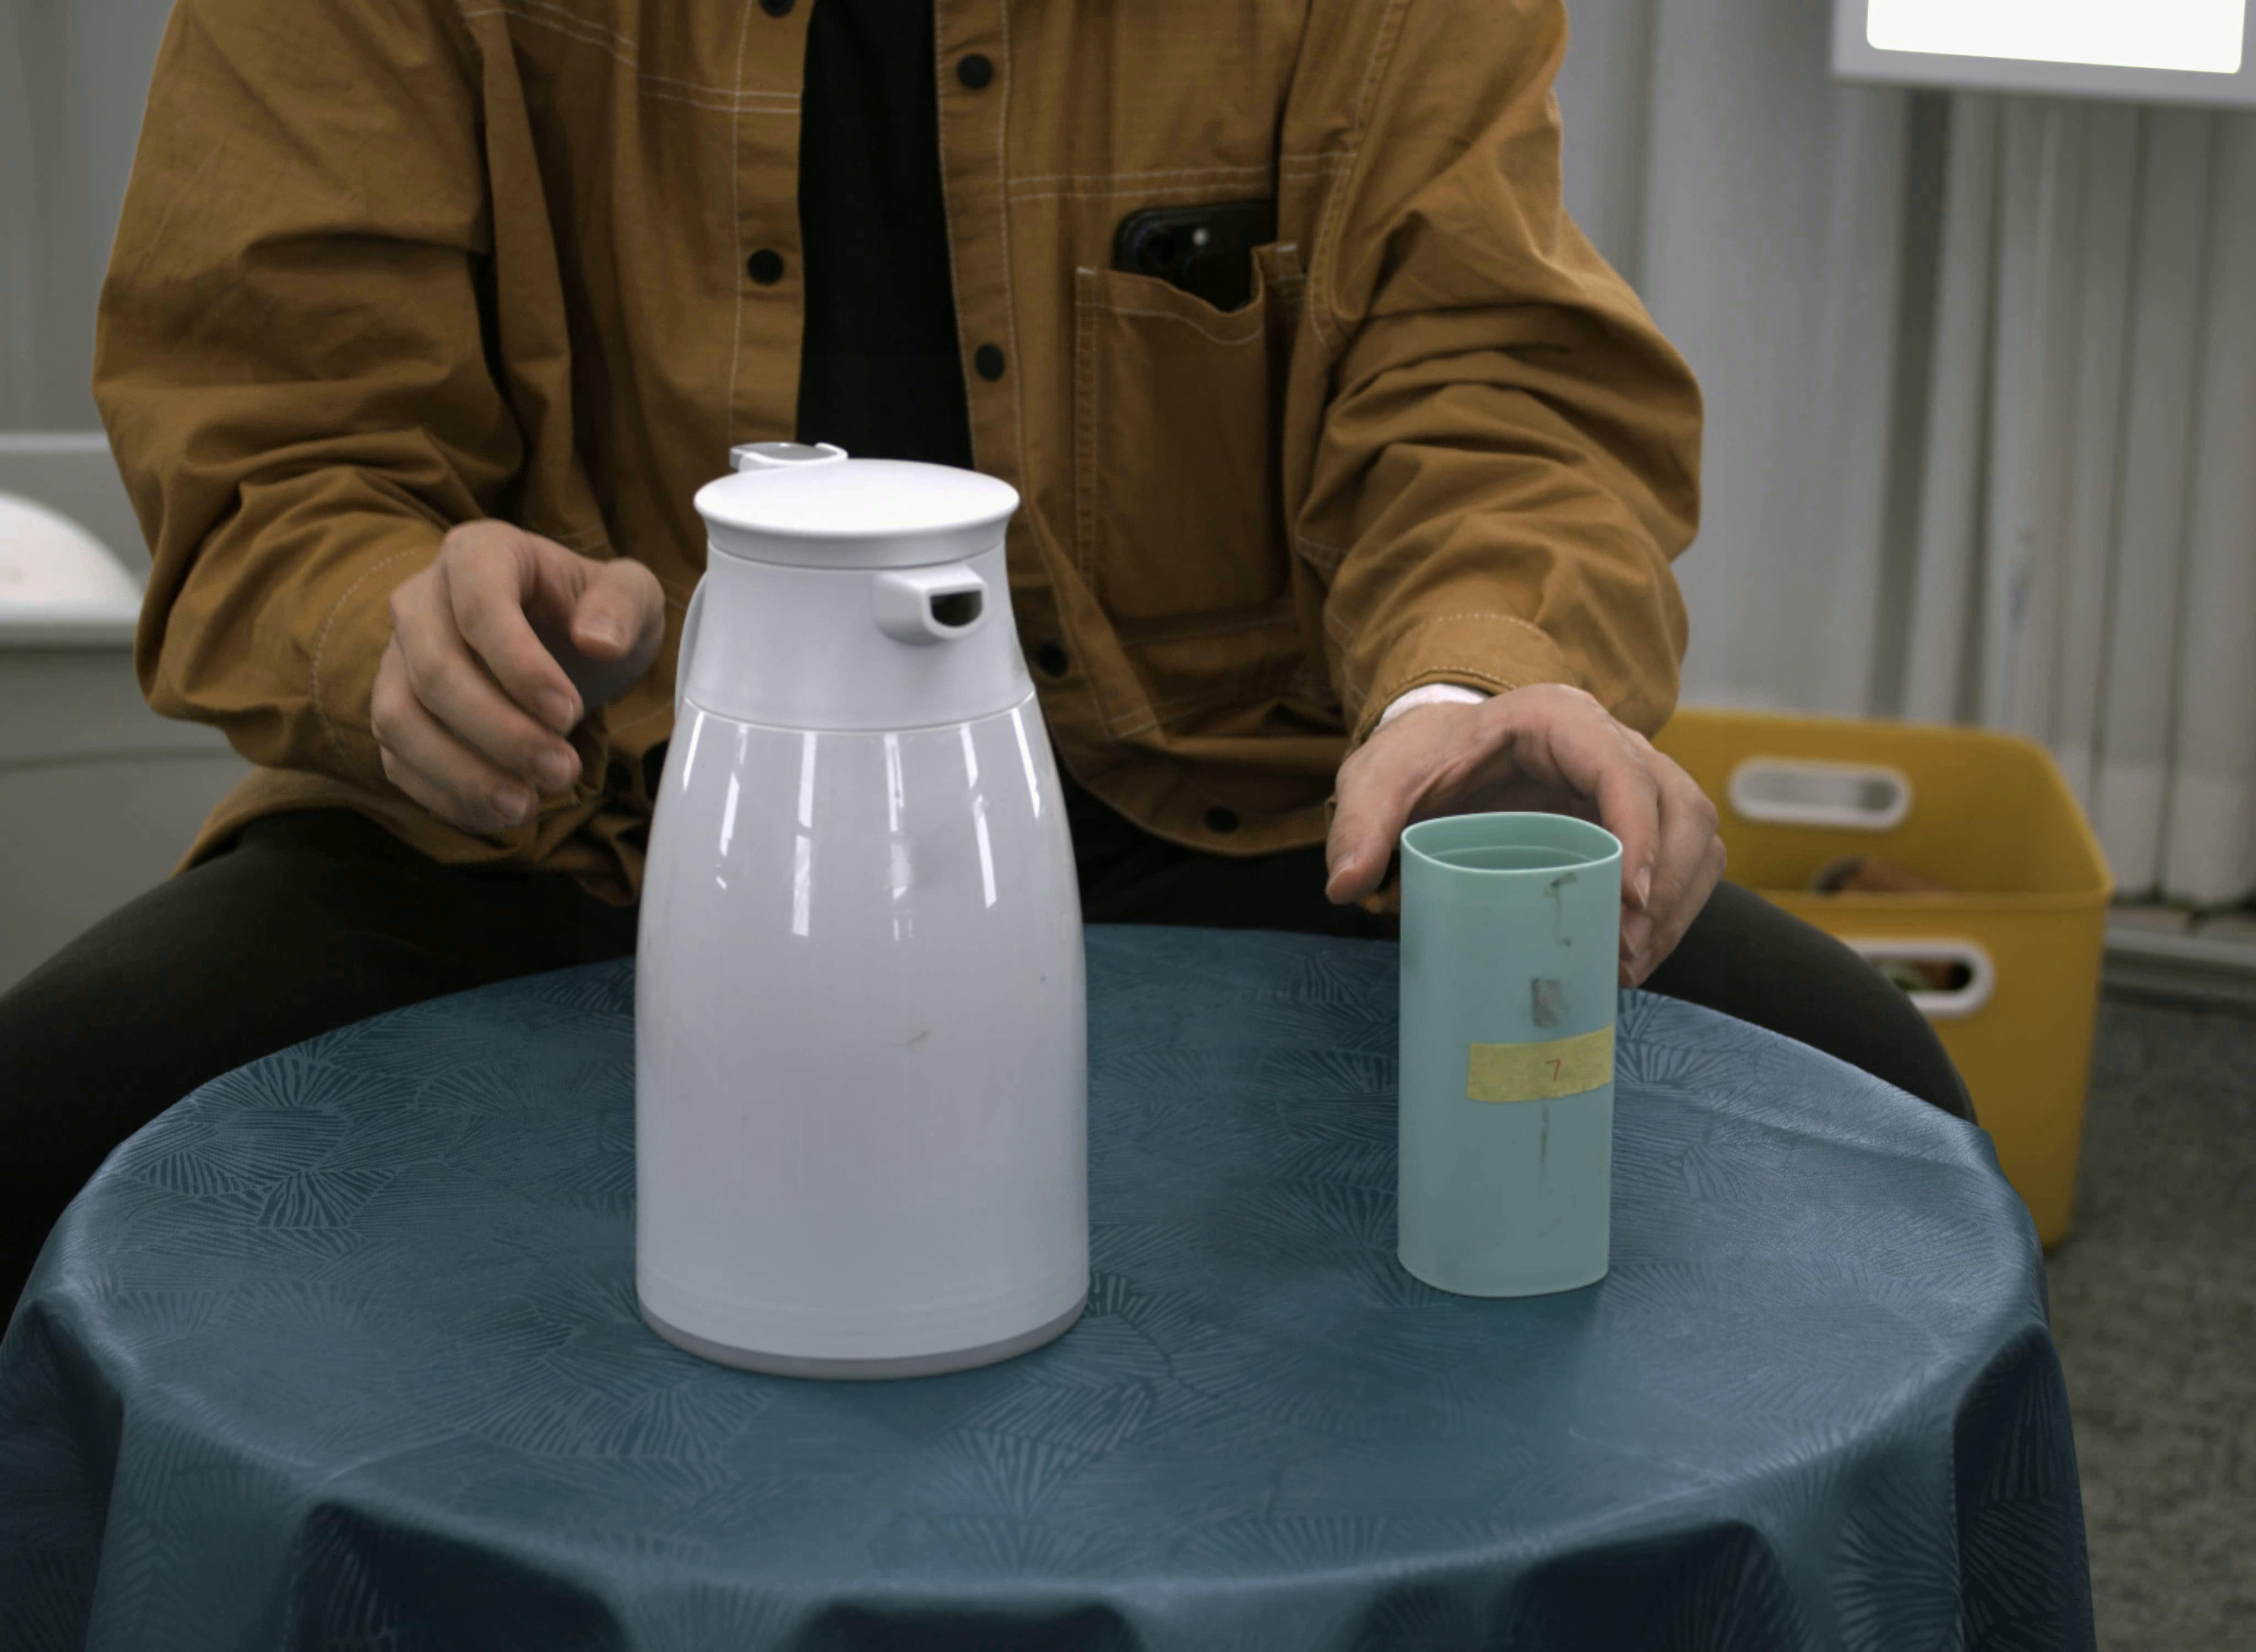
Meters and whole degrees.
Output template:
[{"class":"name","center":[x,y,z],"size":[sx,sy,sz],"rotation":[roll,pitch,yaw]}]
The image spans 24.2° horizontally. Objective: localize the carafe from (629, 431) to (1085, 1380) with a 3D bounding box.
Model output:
[{"class":"carafe","center":[-0.088,0.014,1.509],"size":[0.133,0.250,0.165],"rotation":[-9,18,-29]}]

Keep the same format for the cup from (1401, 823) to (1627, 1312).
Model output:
[{"class":"cup","center":[0.112,0.070,1.547],"size":[0.066,0.133,0.066],"rotation":[1,16,0]}]
